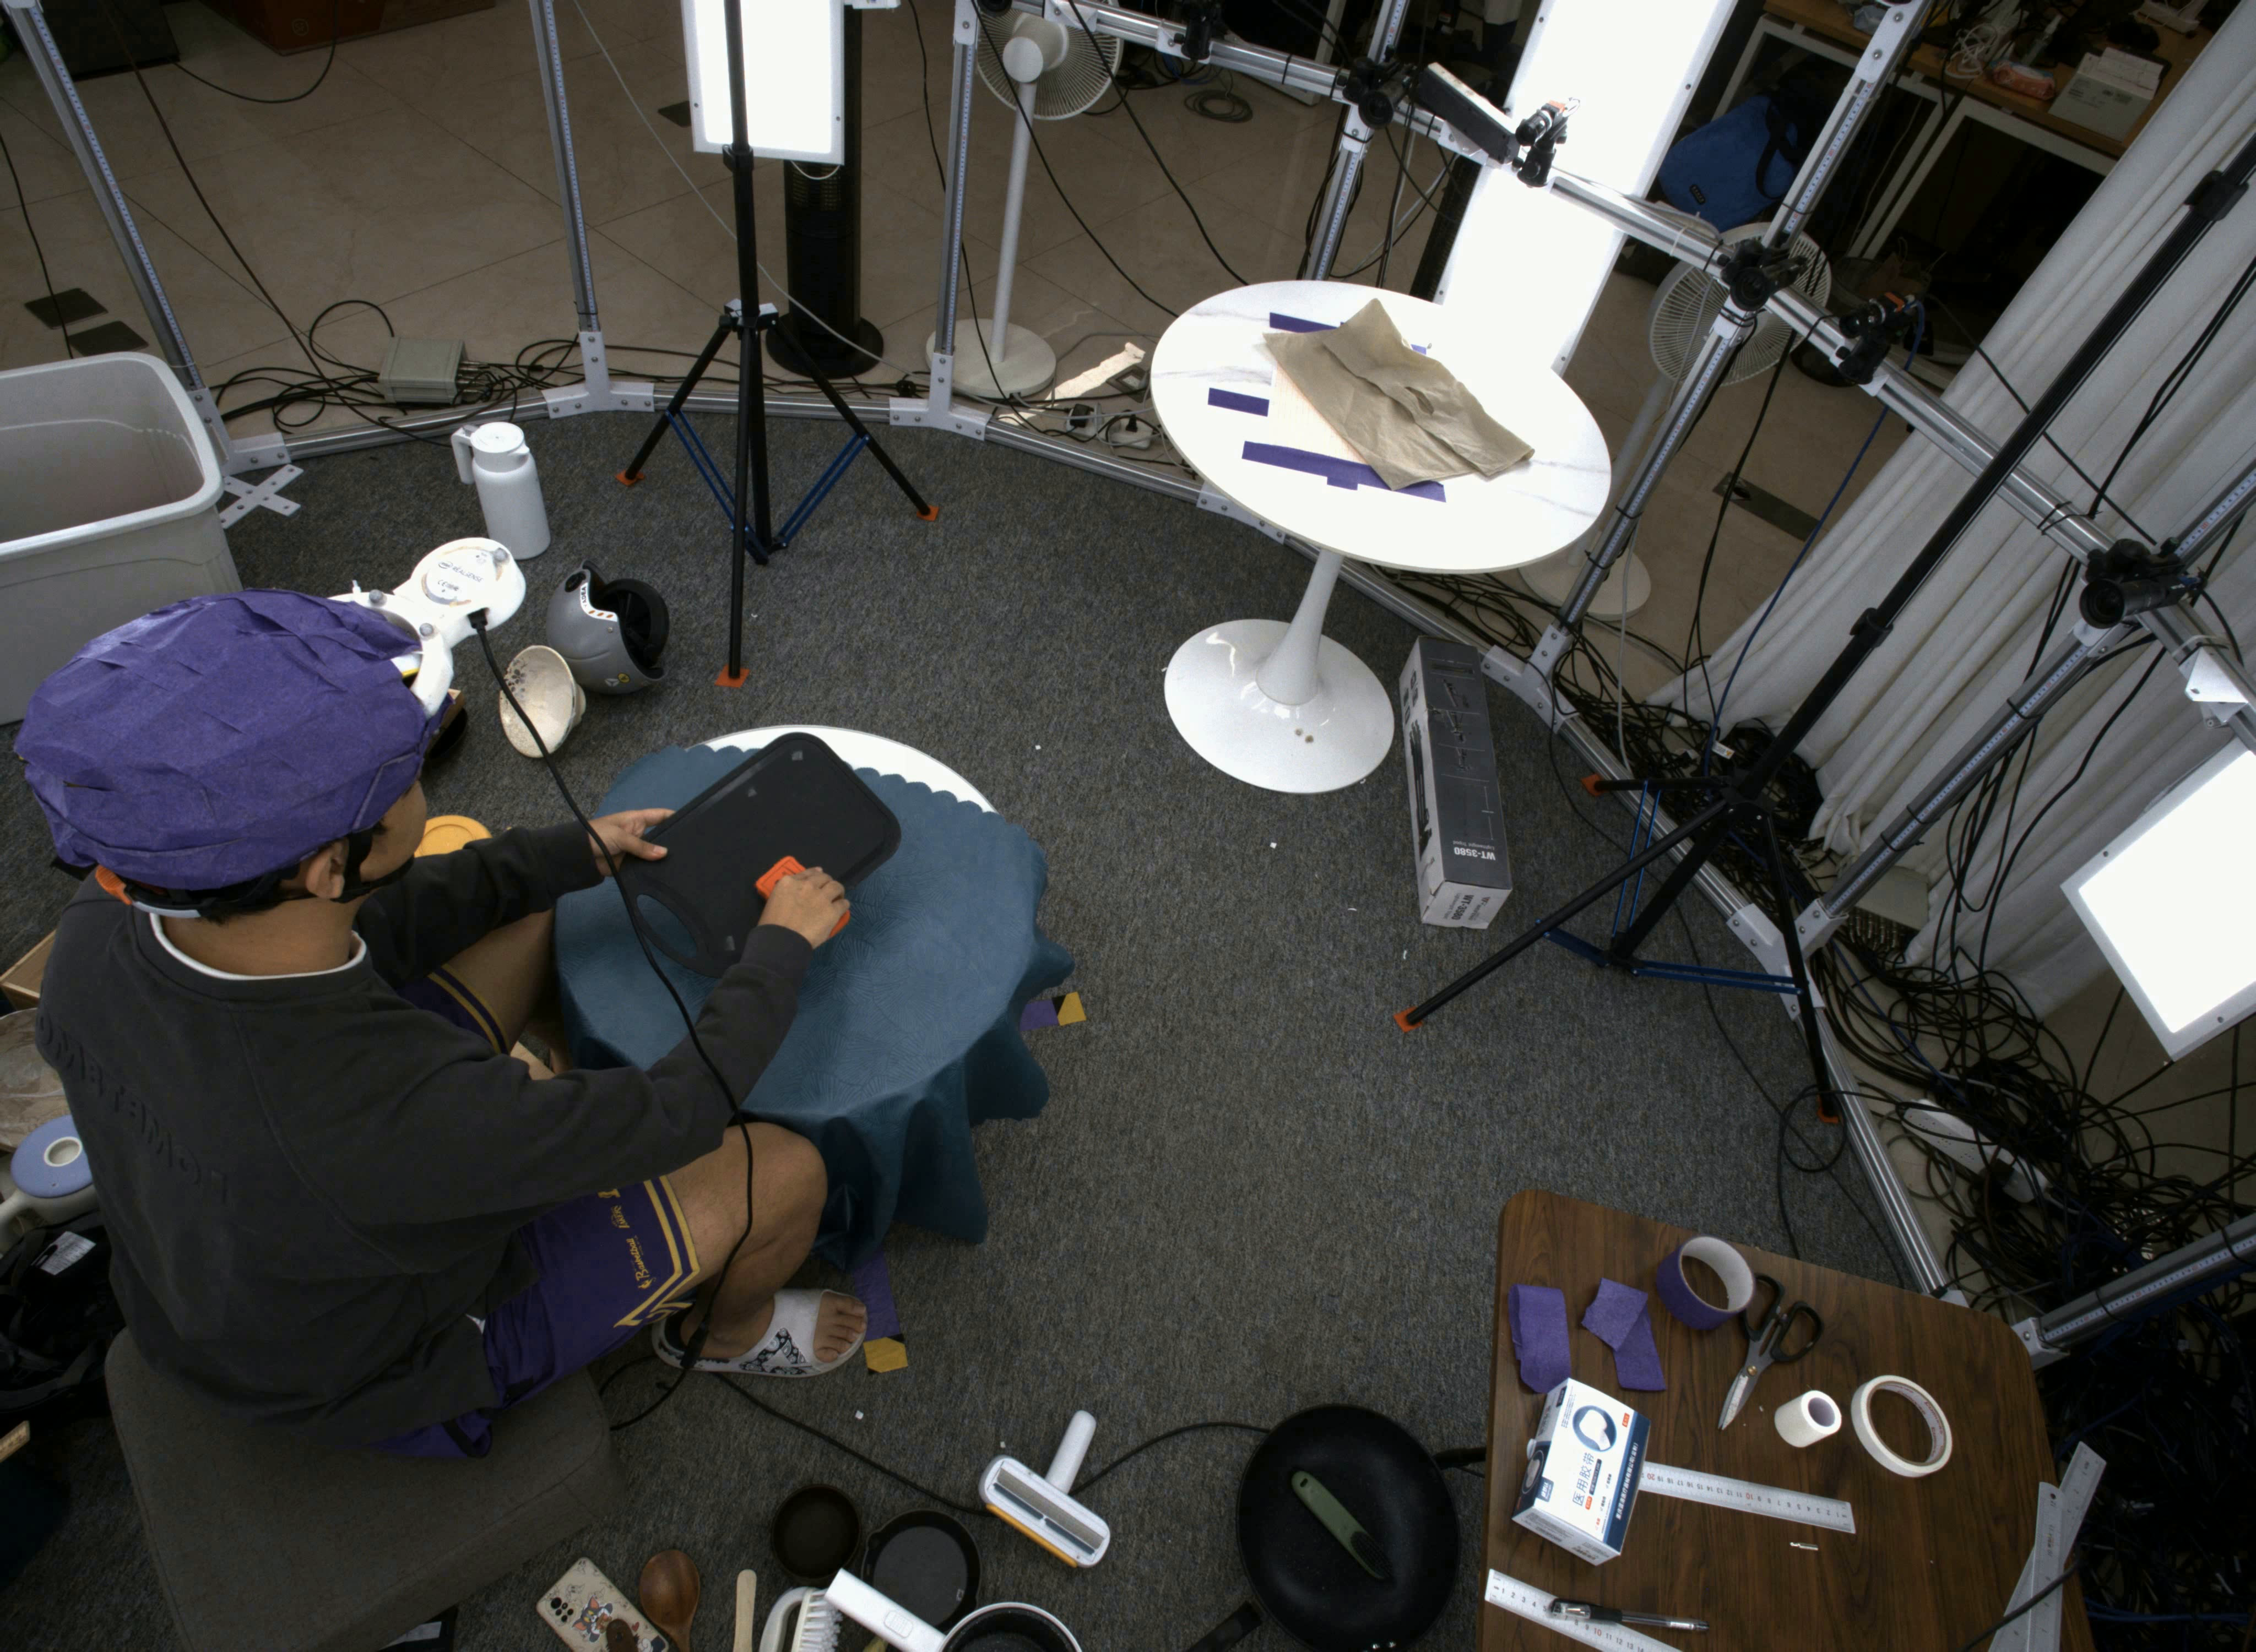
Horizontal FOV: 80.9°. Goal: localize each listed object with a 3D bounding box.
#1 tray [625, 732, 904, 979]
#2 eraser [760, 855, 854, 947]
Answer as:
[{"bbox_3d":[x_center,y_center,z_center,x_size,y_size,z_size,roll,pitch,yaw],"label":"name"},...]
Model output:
[{"bbox_3d":[-0.439,0.033,1.557,0.210,0.010,0.325,46,61,3],"label":"tray"},{"bbox_3d":[-0.381,0.087,1.539,0.107,0.023,0.059,41,61,3],"label":"eraser"}]
